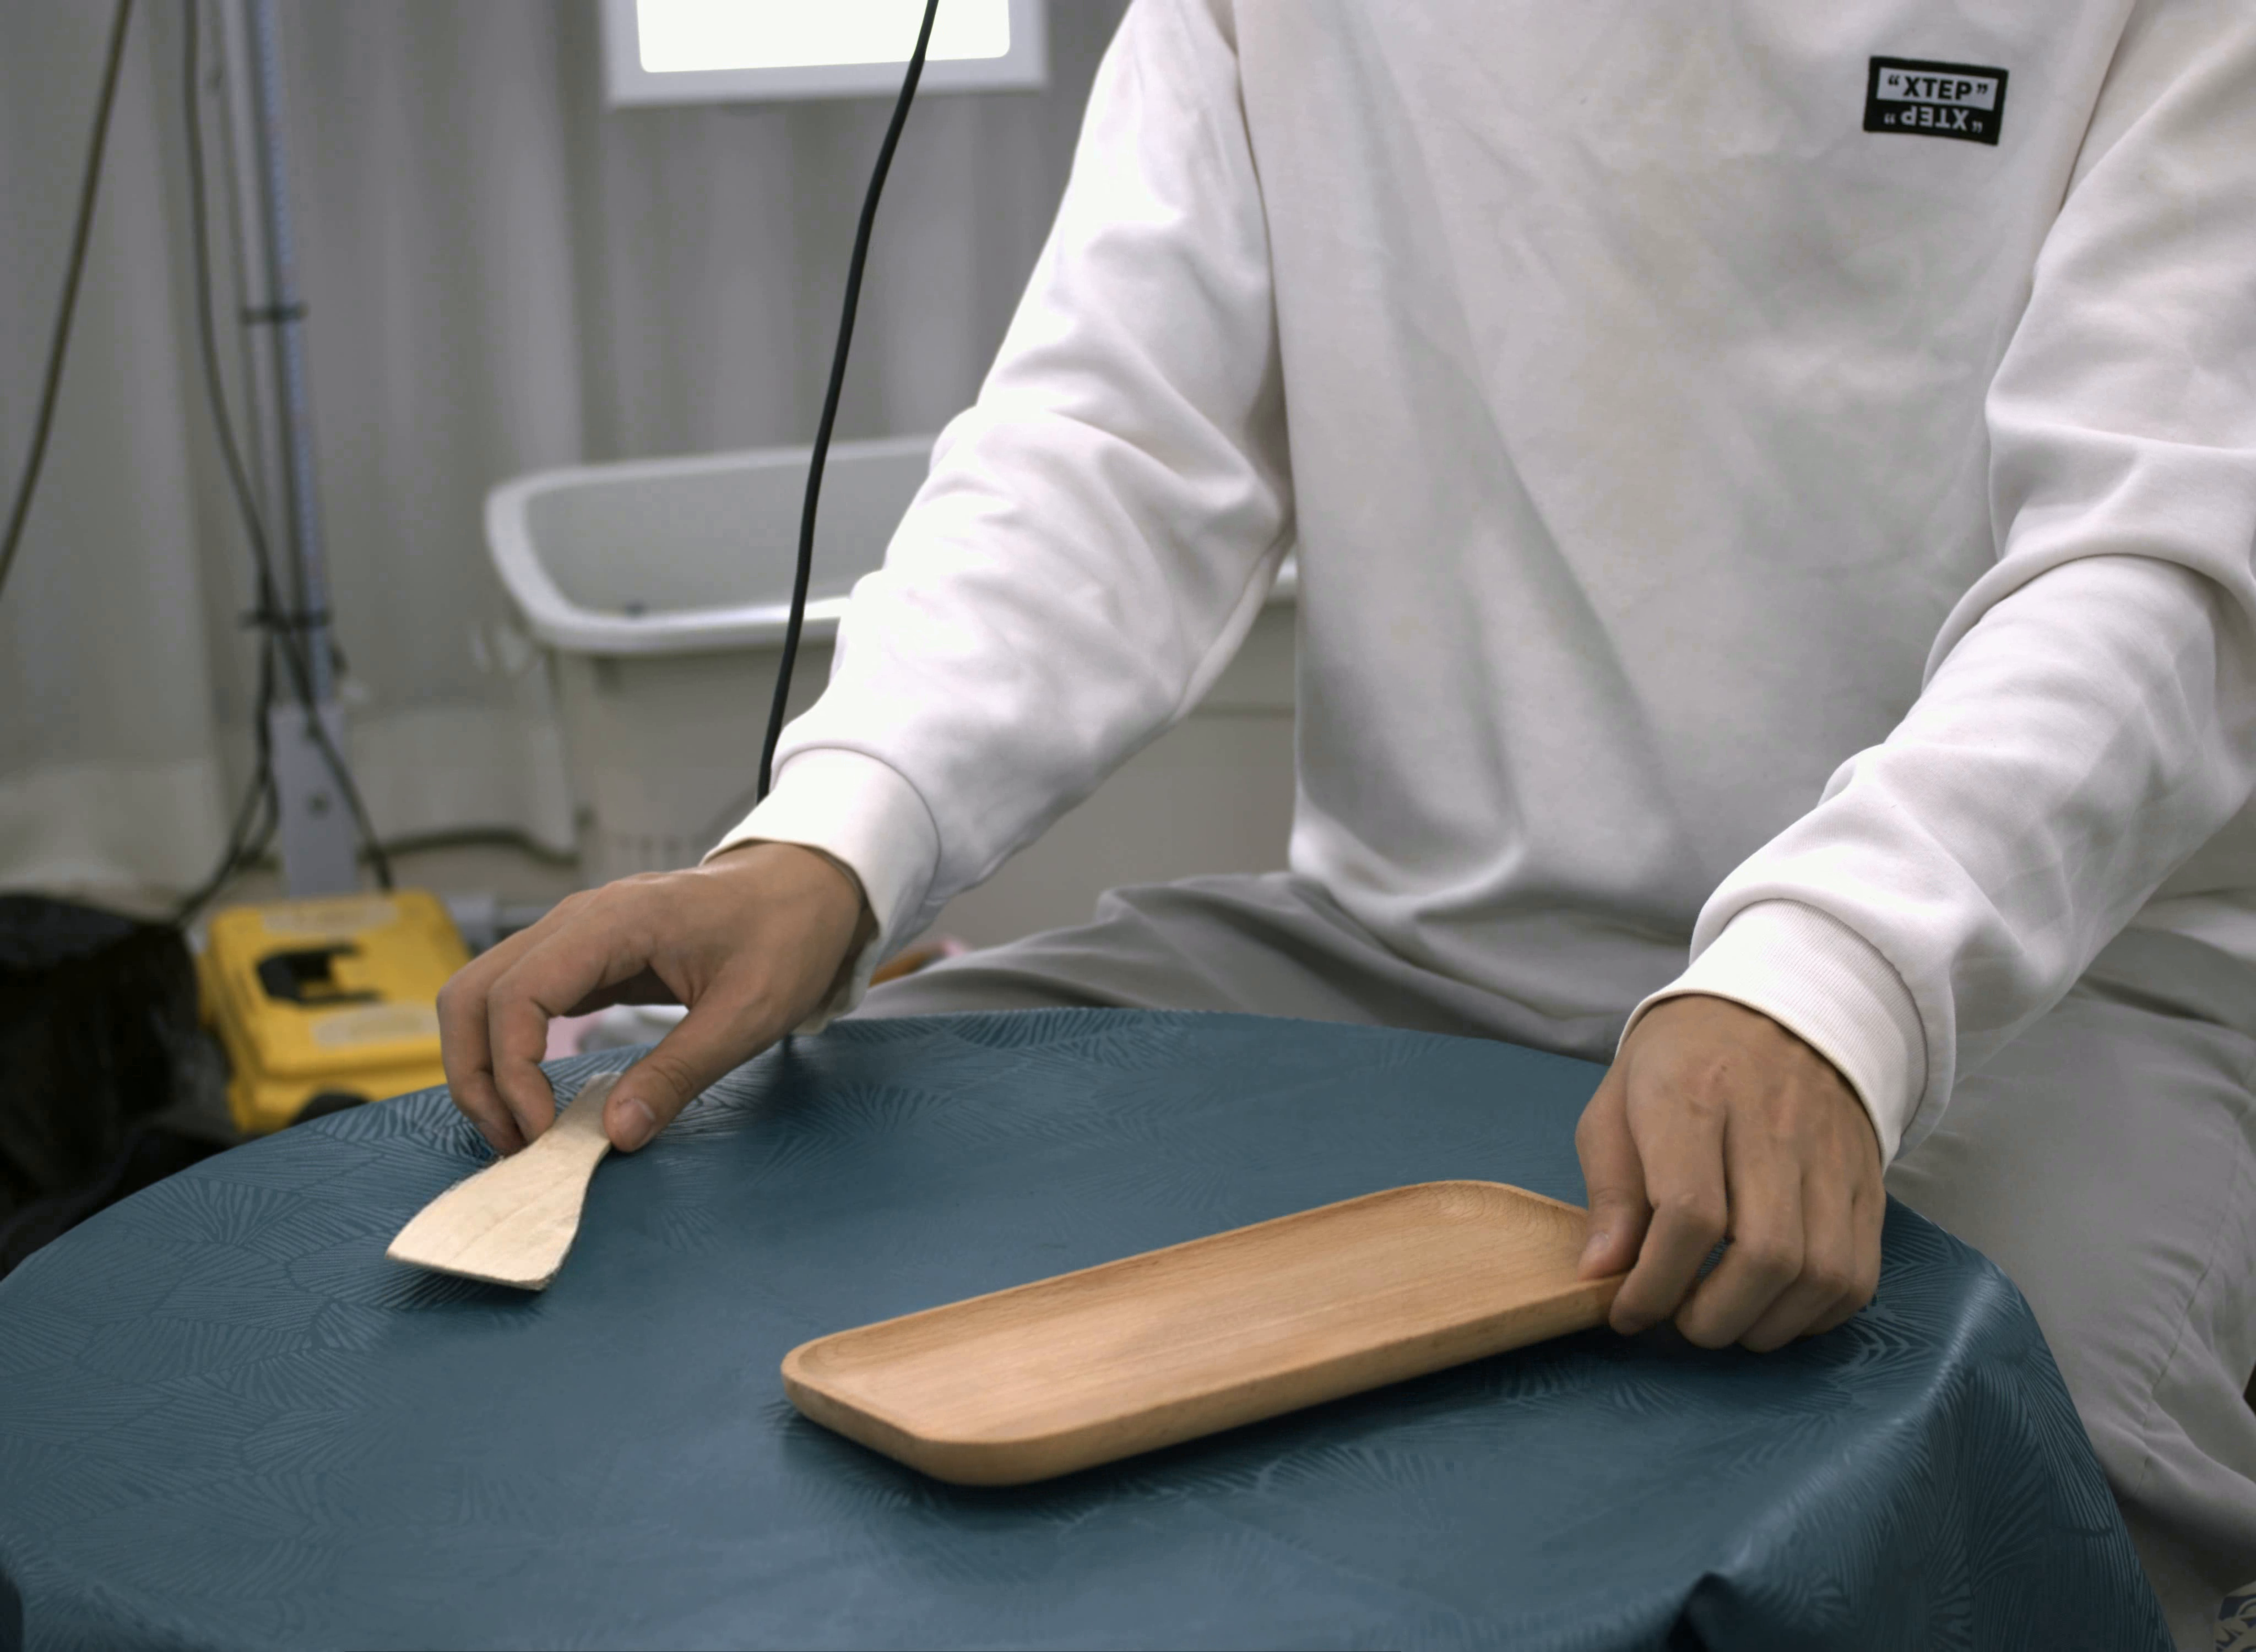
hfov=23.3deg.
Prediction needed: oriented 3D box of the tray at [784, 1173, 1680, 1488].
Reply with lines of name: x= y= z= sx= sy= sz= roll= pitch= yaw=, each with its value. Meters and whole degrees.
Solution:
tray: x=0.031 y=0.142 z=1.560 sx=0.250 sy=0.023 sz=0.131 roll=-11 pitch=16 yaw=-29

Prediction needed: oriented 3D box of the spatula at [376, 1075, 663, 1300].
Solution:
spatula: x=-0.183 y=0.112 z=1.733 sx=0.050 sy=0.005 sz=0.209 roll=10 pitch=16 yaw=9
